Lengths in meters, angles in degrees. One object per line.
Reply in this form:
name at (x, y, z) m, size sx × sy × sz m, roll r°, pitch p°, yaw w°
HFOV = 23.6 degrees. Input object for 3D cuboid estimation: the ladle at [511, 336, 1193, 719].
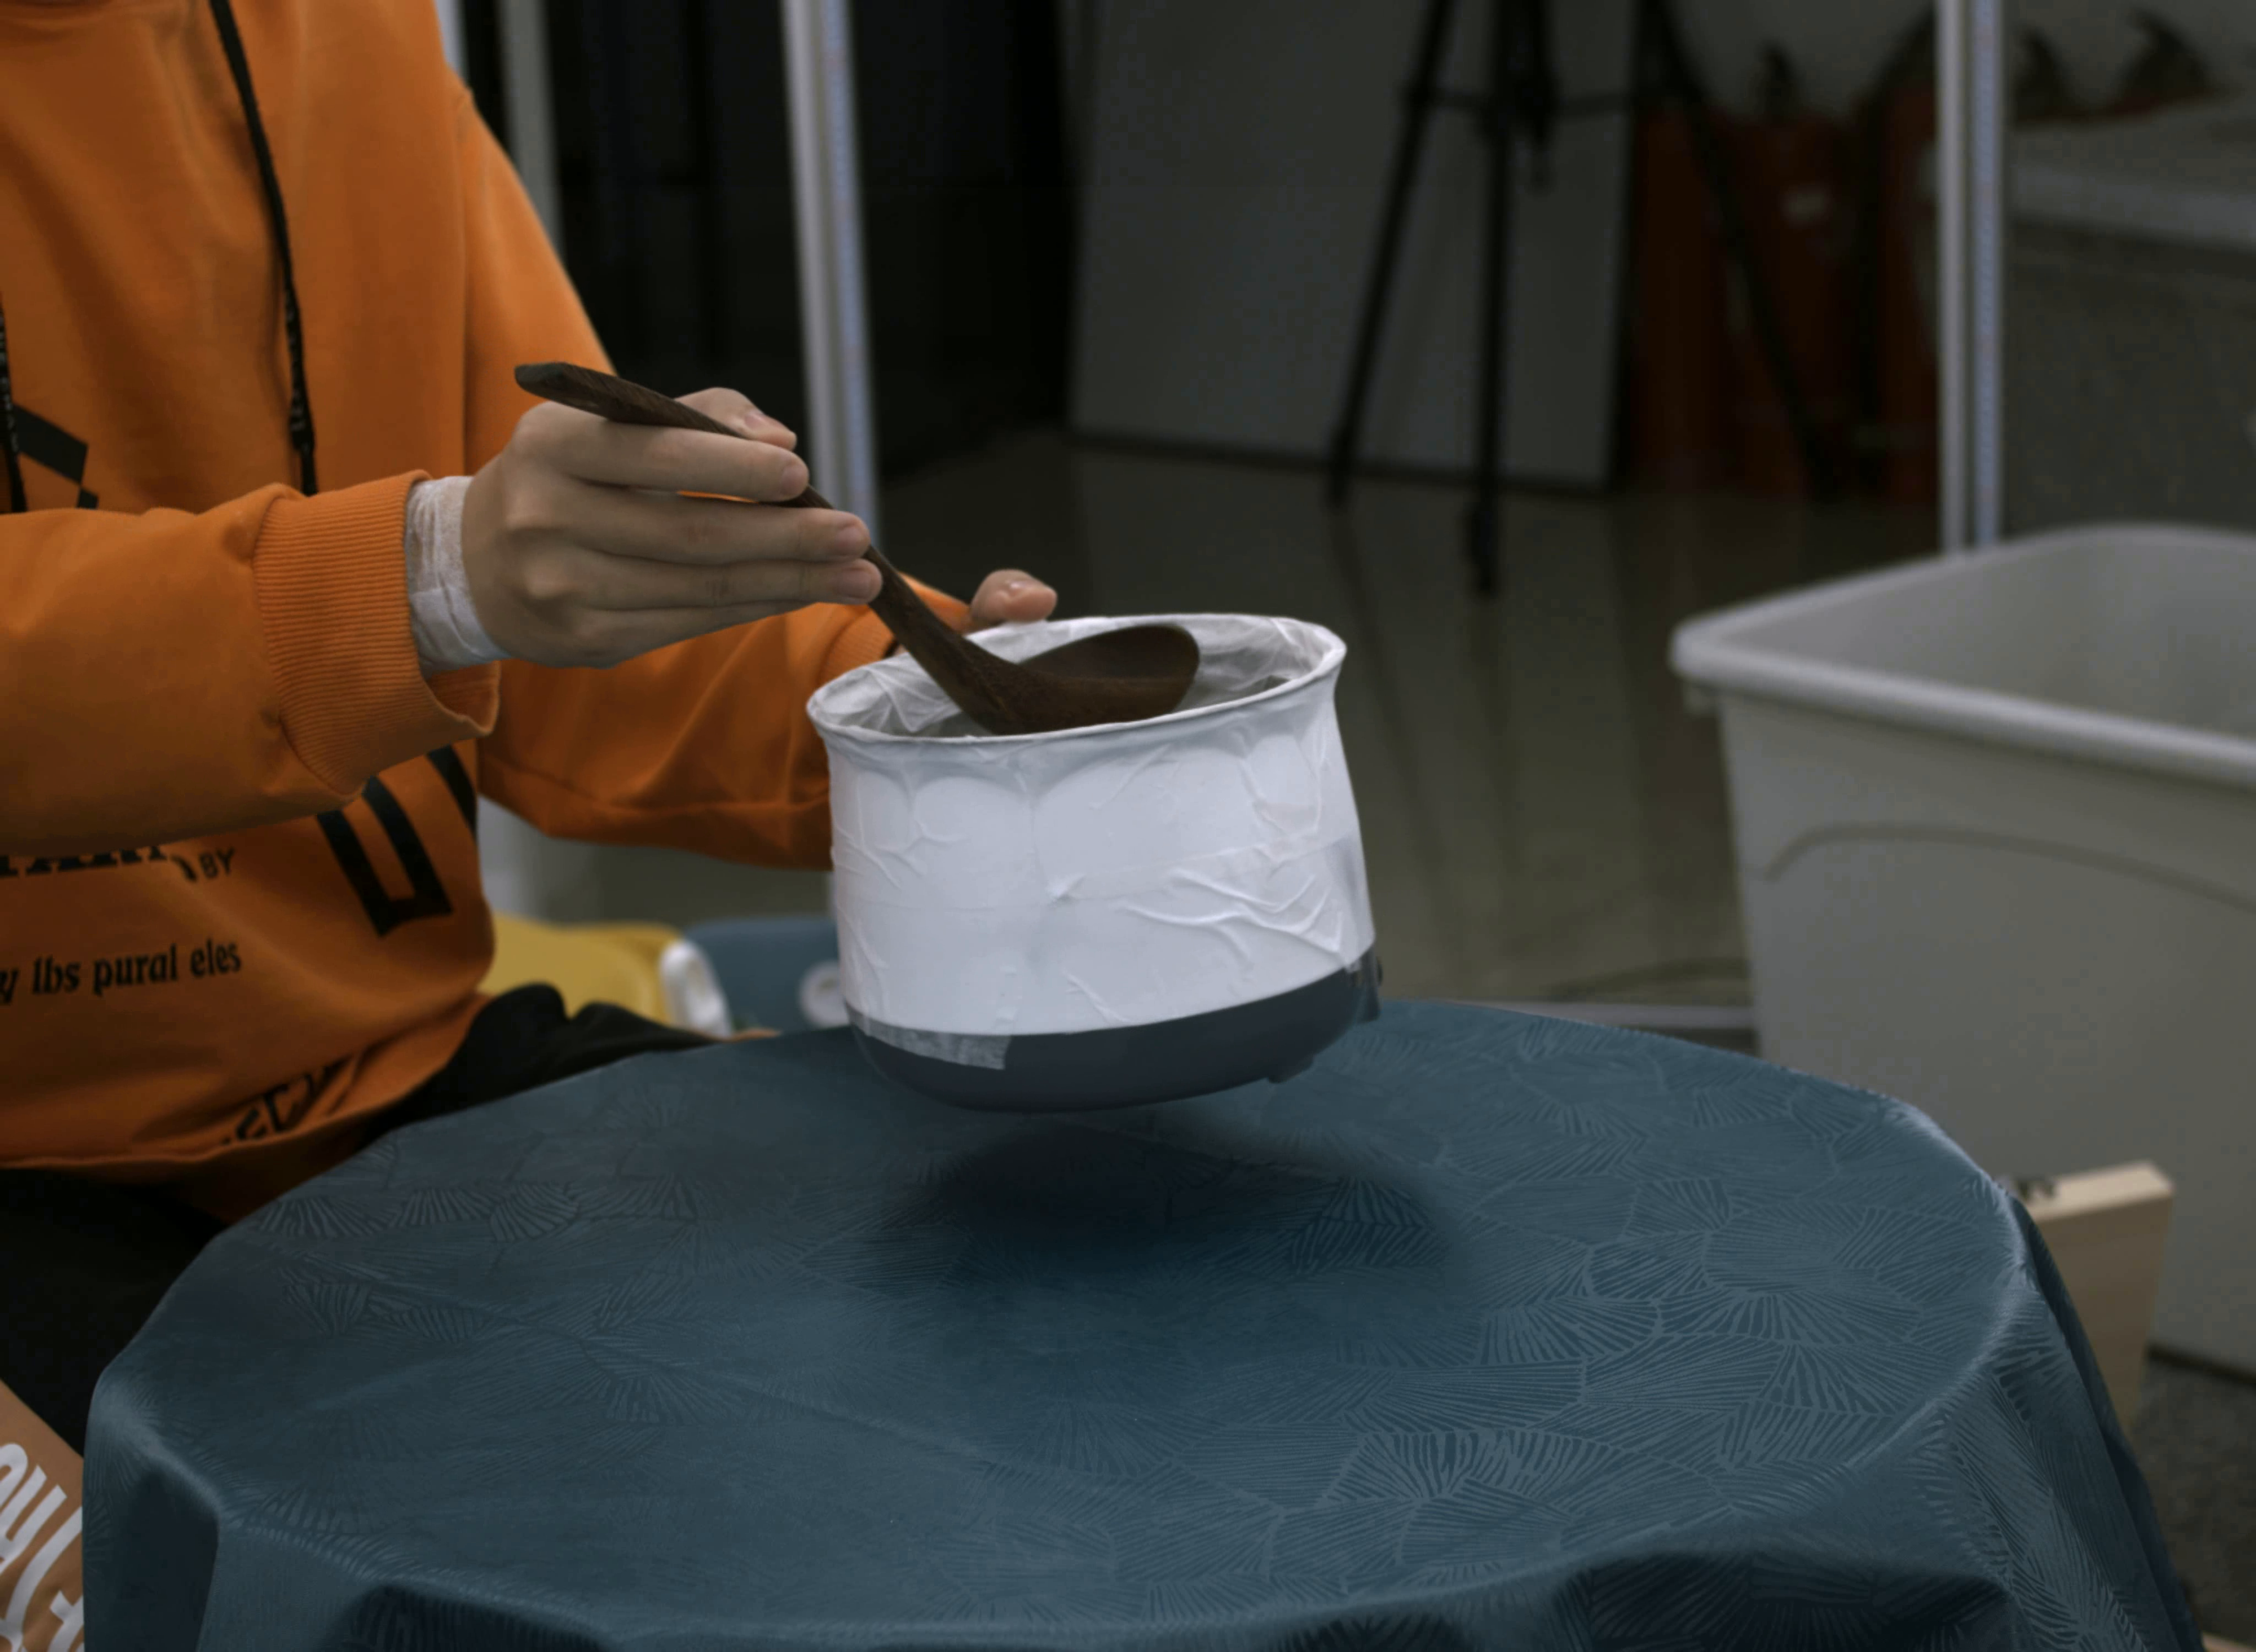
ladle at (-0.083, -0.104, 1.704) m, size 0.077 × 0.072 × 0.270 m, roll -5°, pitch -34°, yaw 45°

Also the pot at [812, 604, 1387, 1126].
pot at (-0.014, 0.006, 1.778) m, size 0.175 × 0.138 × 0.235 m, roll -9°, pitch 13°, yaw -10°
